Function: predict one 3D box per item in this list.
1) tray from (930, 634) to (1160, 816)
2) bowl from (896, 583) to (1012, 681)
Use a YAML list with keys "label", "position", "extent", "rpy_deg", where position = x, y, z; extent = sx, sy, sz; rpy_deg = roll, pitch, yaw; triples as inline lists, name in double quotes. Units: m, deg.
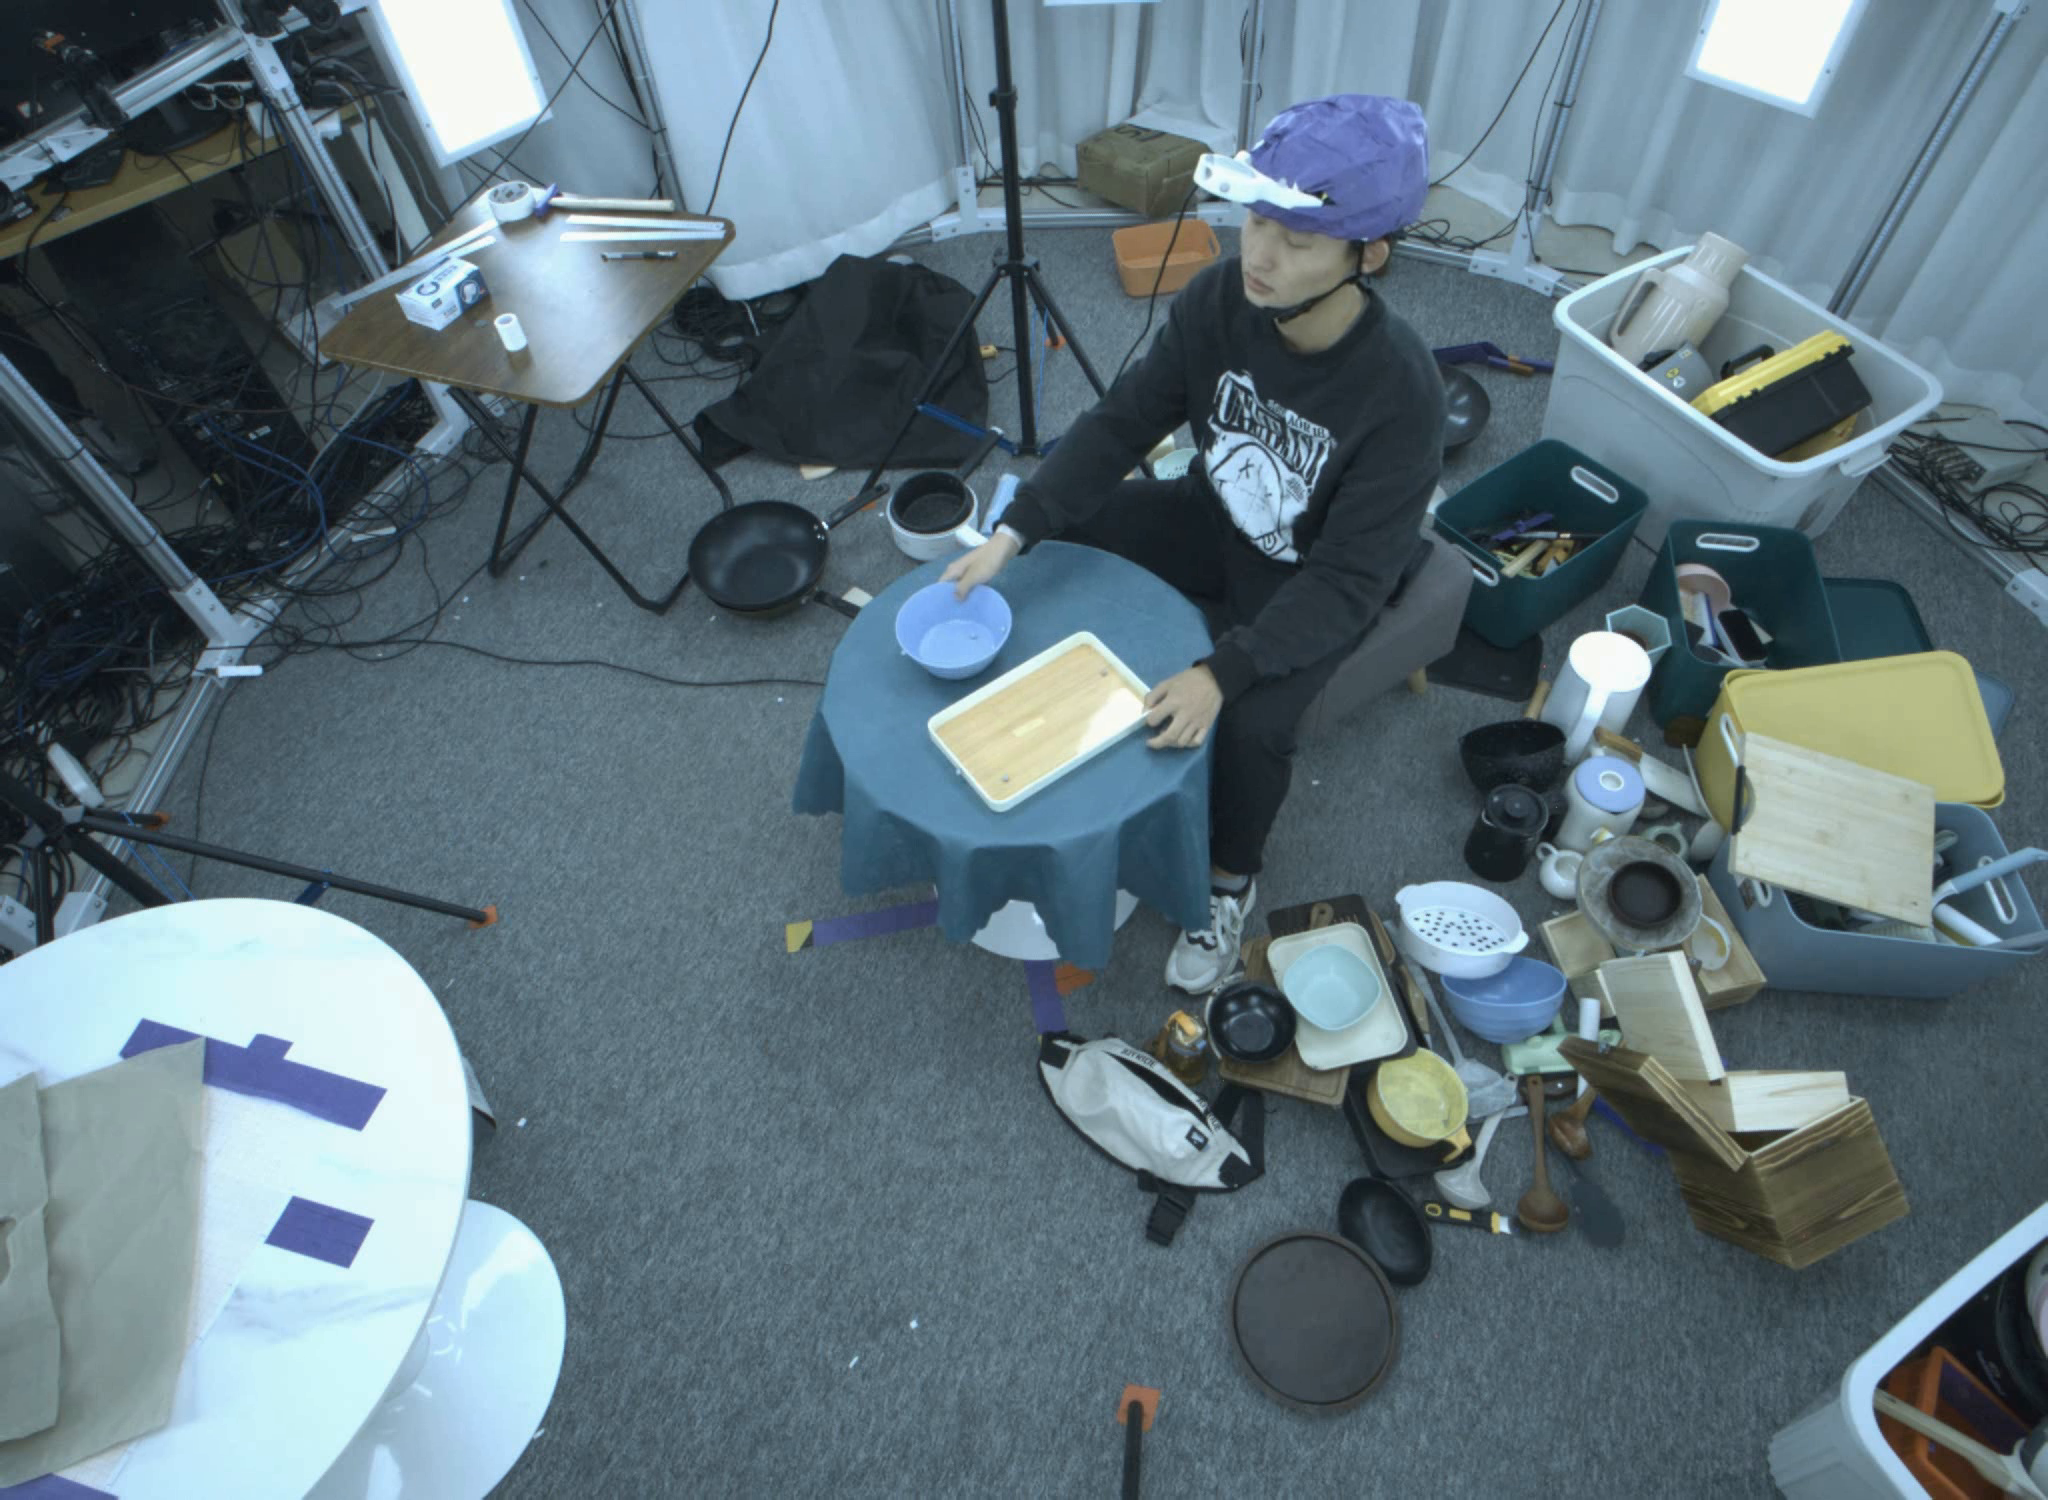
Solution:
- label: "tray"
  position: [0.032, -0.042, 1.810]
  extent: [0.302, 0.028, 0.188]
  rpy_deg: [-32, 60, -19]
- label: "bowl"
  position: [-0.104, -0.170, 1.877]
  extent: [0.176, 0.071, 0.174]
  rpy_deg: [0, 56, 1]
